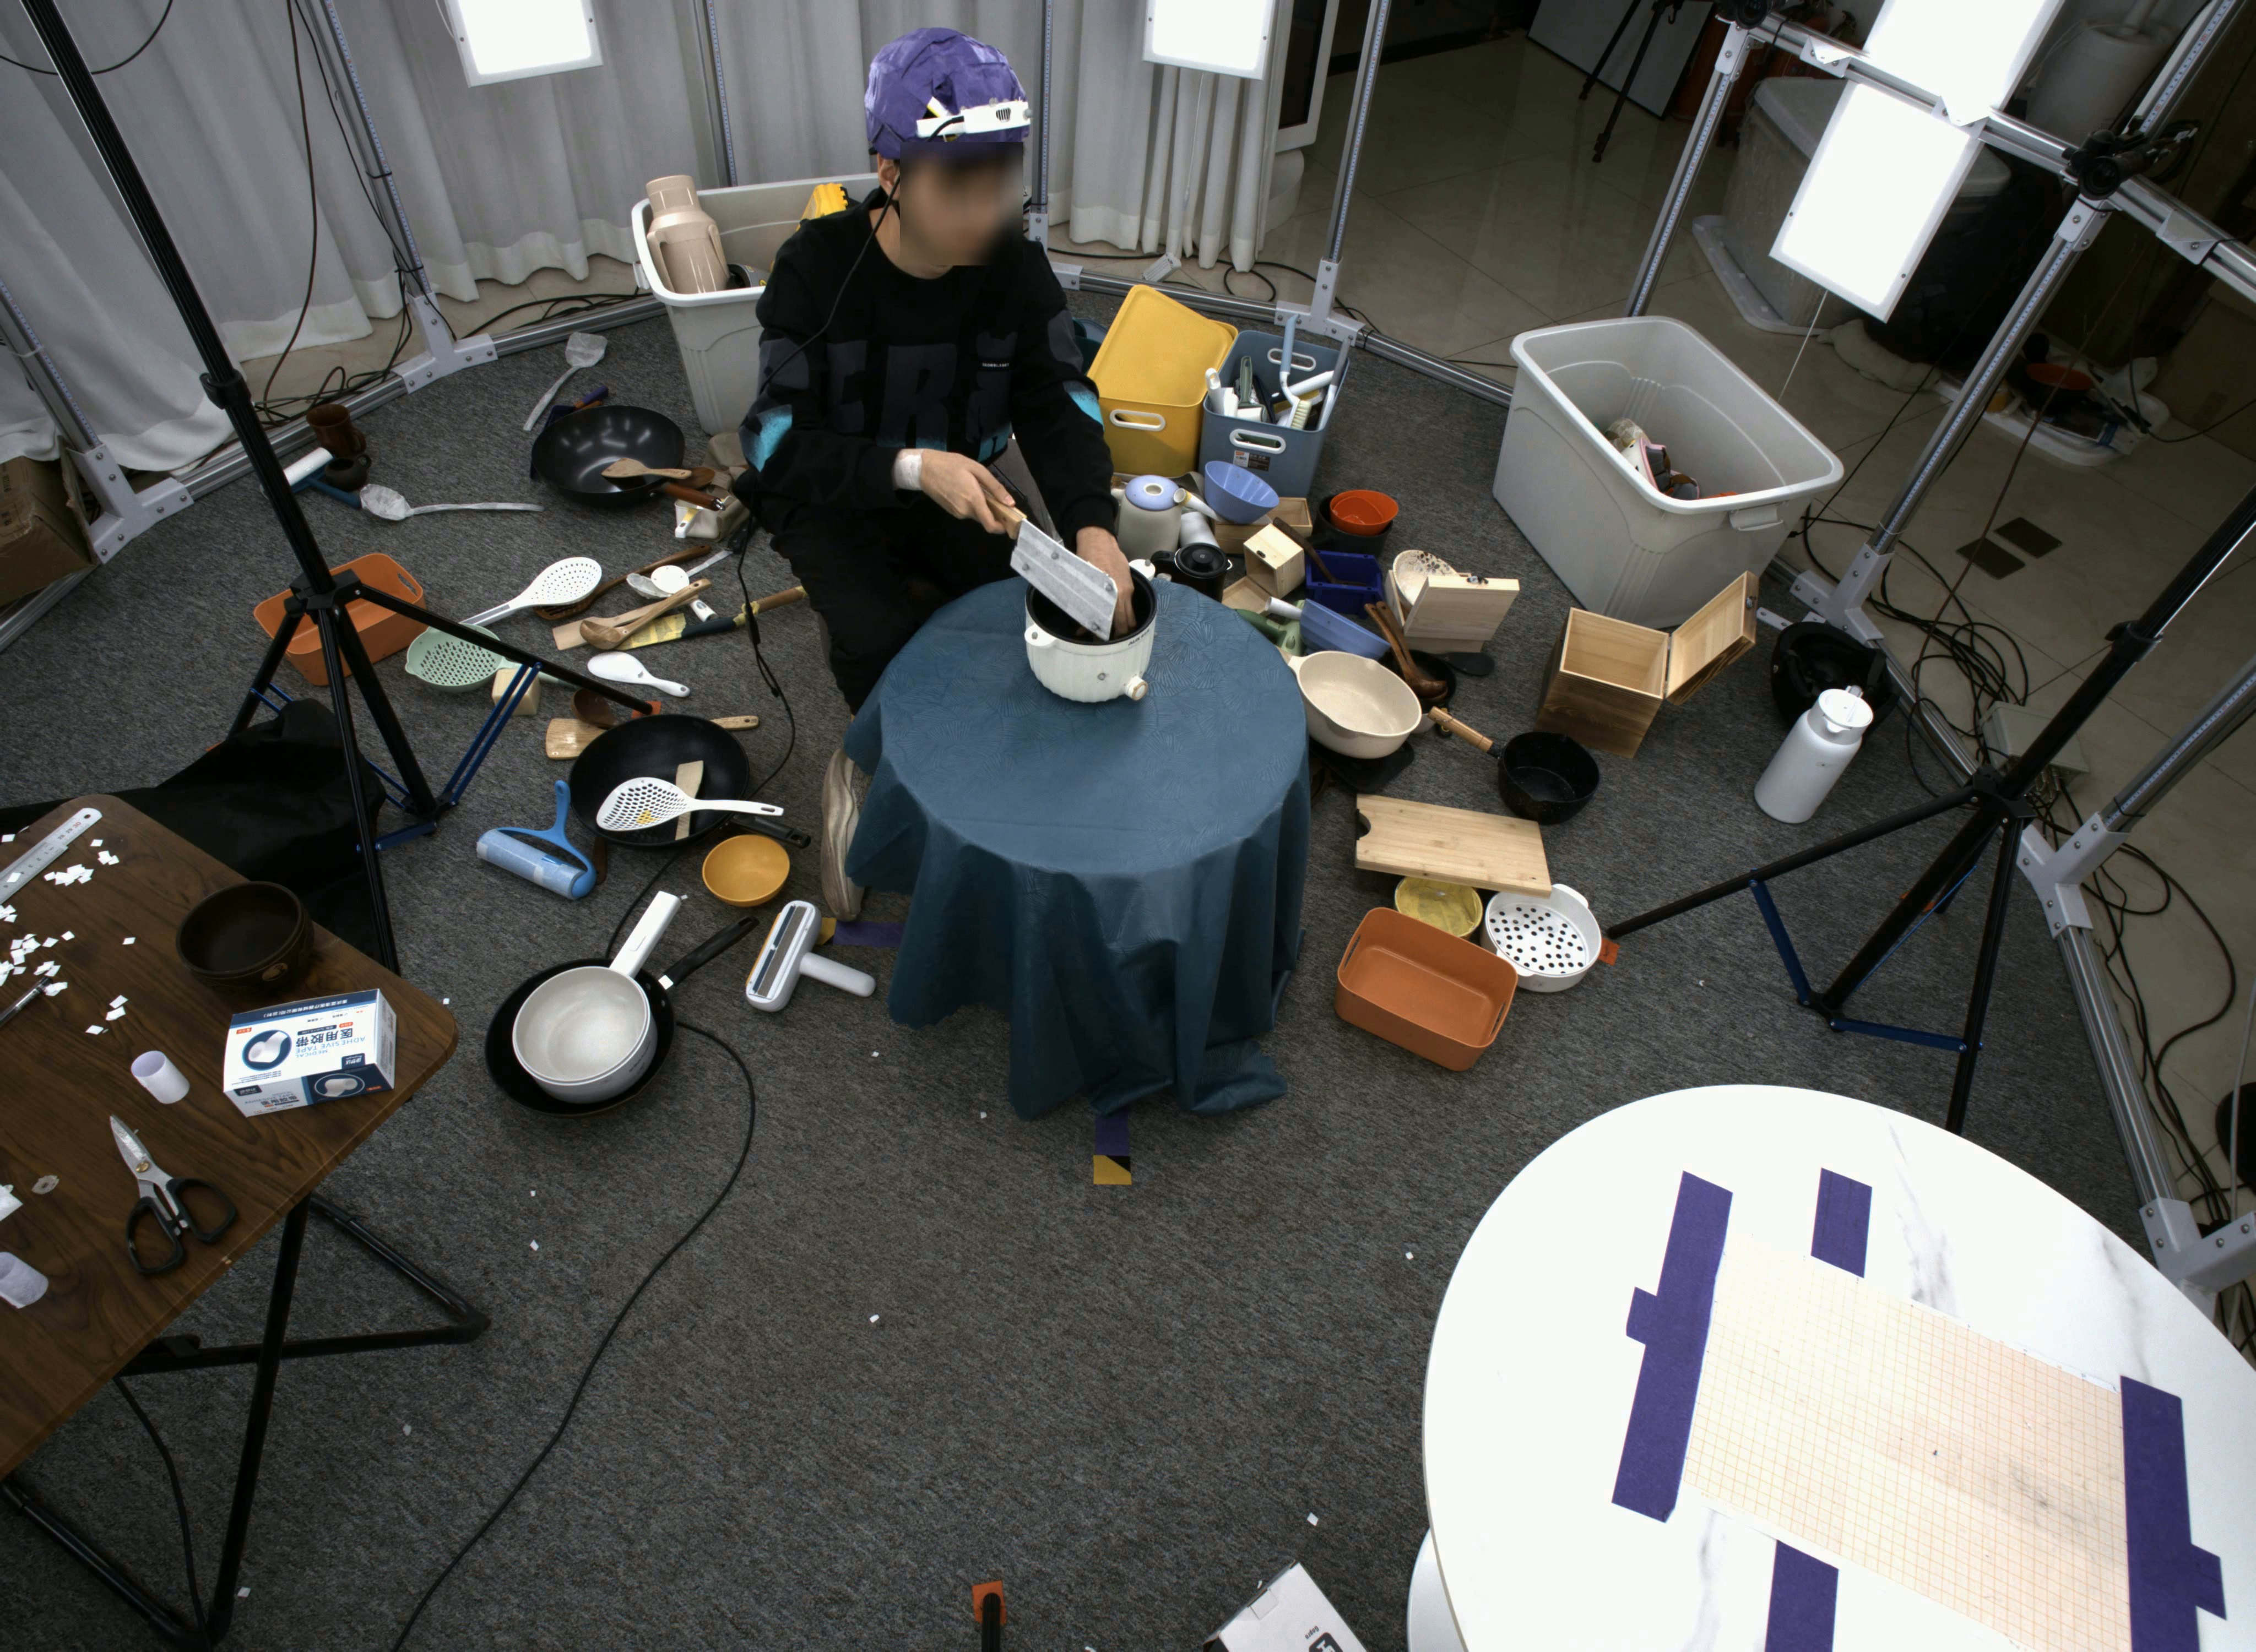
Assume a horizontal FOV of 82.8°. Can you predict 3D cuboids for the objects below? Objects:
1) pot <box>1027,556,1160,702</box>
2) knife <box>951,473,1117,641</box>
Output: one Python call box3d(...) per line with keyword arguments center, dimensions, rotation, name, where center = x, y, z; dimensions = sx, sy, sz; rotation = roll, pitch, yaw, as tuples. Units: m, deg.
box3d(center=(-0.045, -0.268, 1.808), dimensions=(0.193, 0.139, 0.243), rotation=(34, 56, 27), name="pot")
box3d(center=(-0.125, -0.372, 1.728), dimensions=(0.319, 0.111, 0.022), rotation=(43, 51, 17), name="knife")
